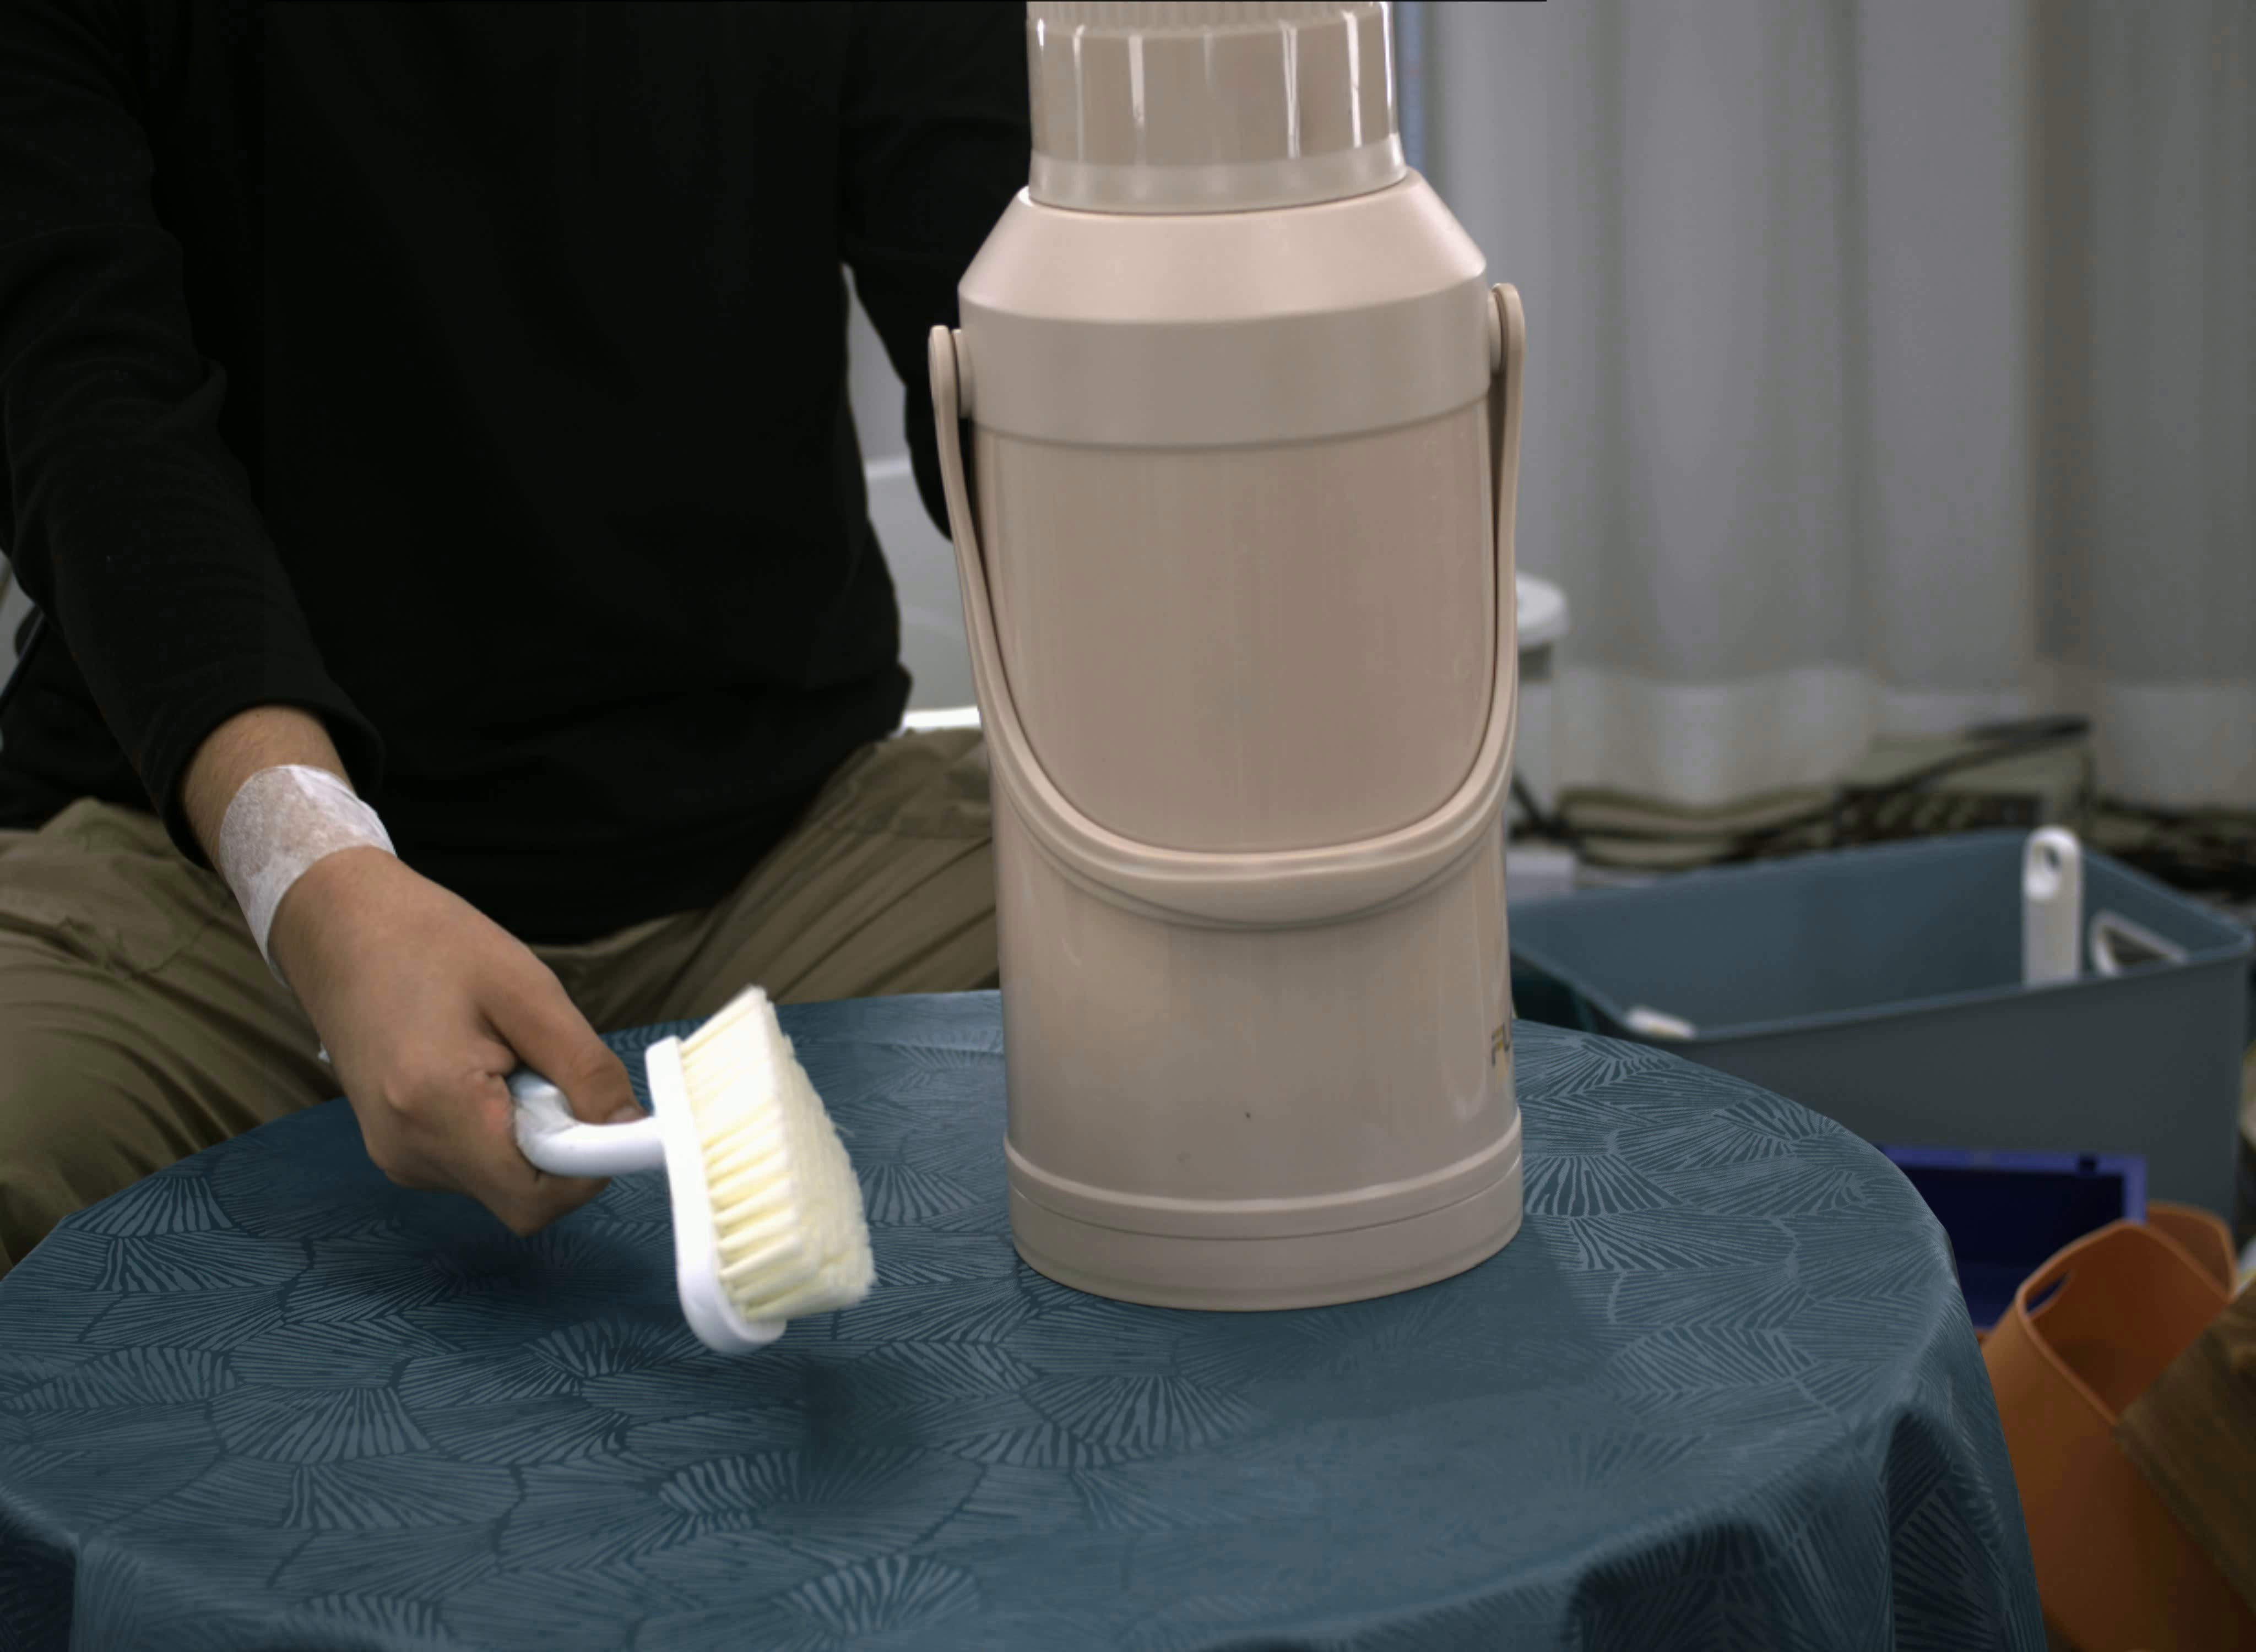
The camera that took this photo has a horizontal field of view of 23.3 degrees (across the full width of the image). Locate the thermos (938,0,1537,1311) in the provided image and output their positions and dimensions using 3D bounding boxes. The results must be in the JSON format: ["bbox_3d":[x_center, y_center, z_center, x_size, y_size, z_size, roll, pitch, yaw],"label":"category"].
[{"bbox_3d":[0.035,-0.073,1.647,0.174,0.405,0.208,-6,14,-7],"label":"thermos"}]

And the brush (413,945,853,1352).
[{"bbox_3d":[-0.139,0.071,1.626,0.084,0.083,0.328,8,13,-21],"label":"brush"}]
